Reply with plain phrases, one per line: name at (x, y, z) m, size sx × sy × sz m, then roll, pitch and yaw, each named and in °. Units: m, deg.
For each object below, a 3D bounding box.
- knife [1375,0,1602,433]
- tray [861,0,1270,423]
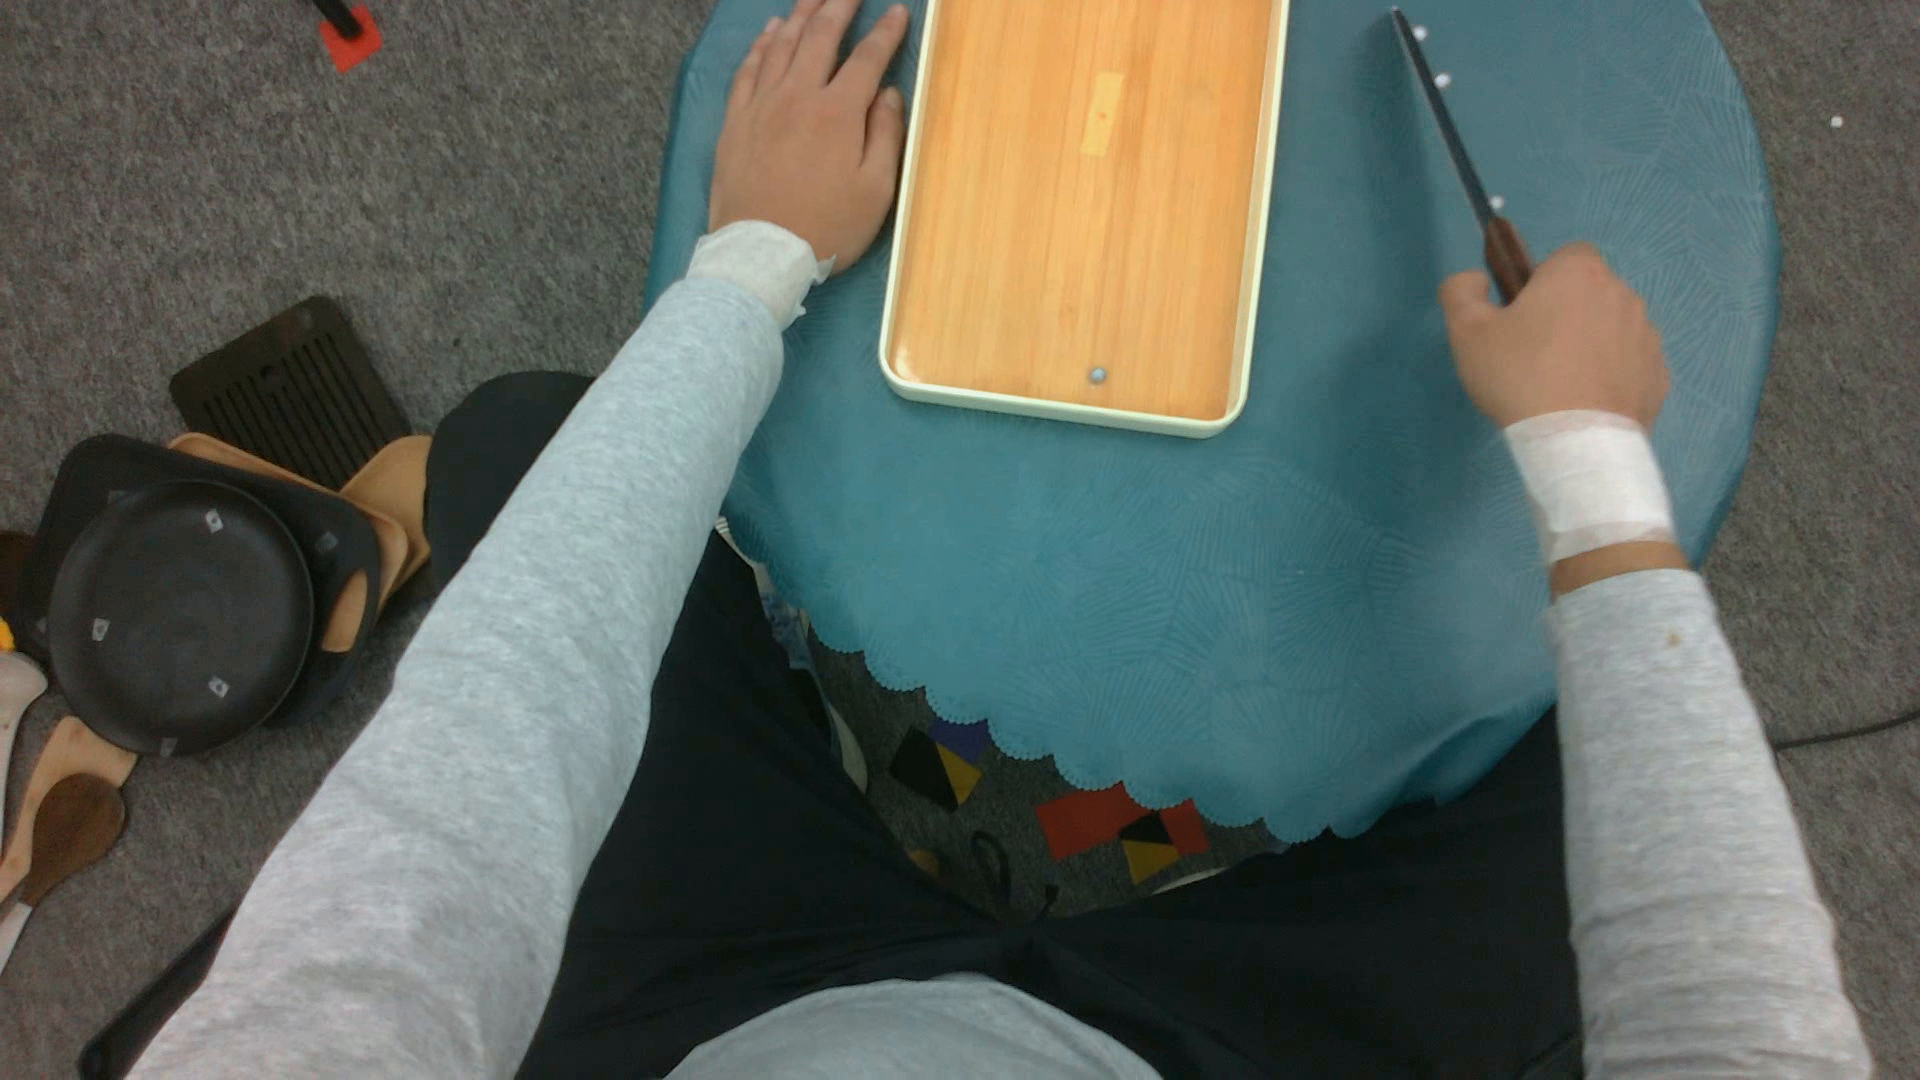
knife at (0.255, -0.175, 0.689) m, size 0.020 × 0.050 × 0.290 m, roll -16°, pitch 63°, yaw 7°
tray at (0.060, -0.218, 0.733) m, size 0.191 × 0.027 × 0.301 m, roll 8°, pitch 80°, yaw 0°
